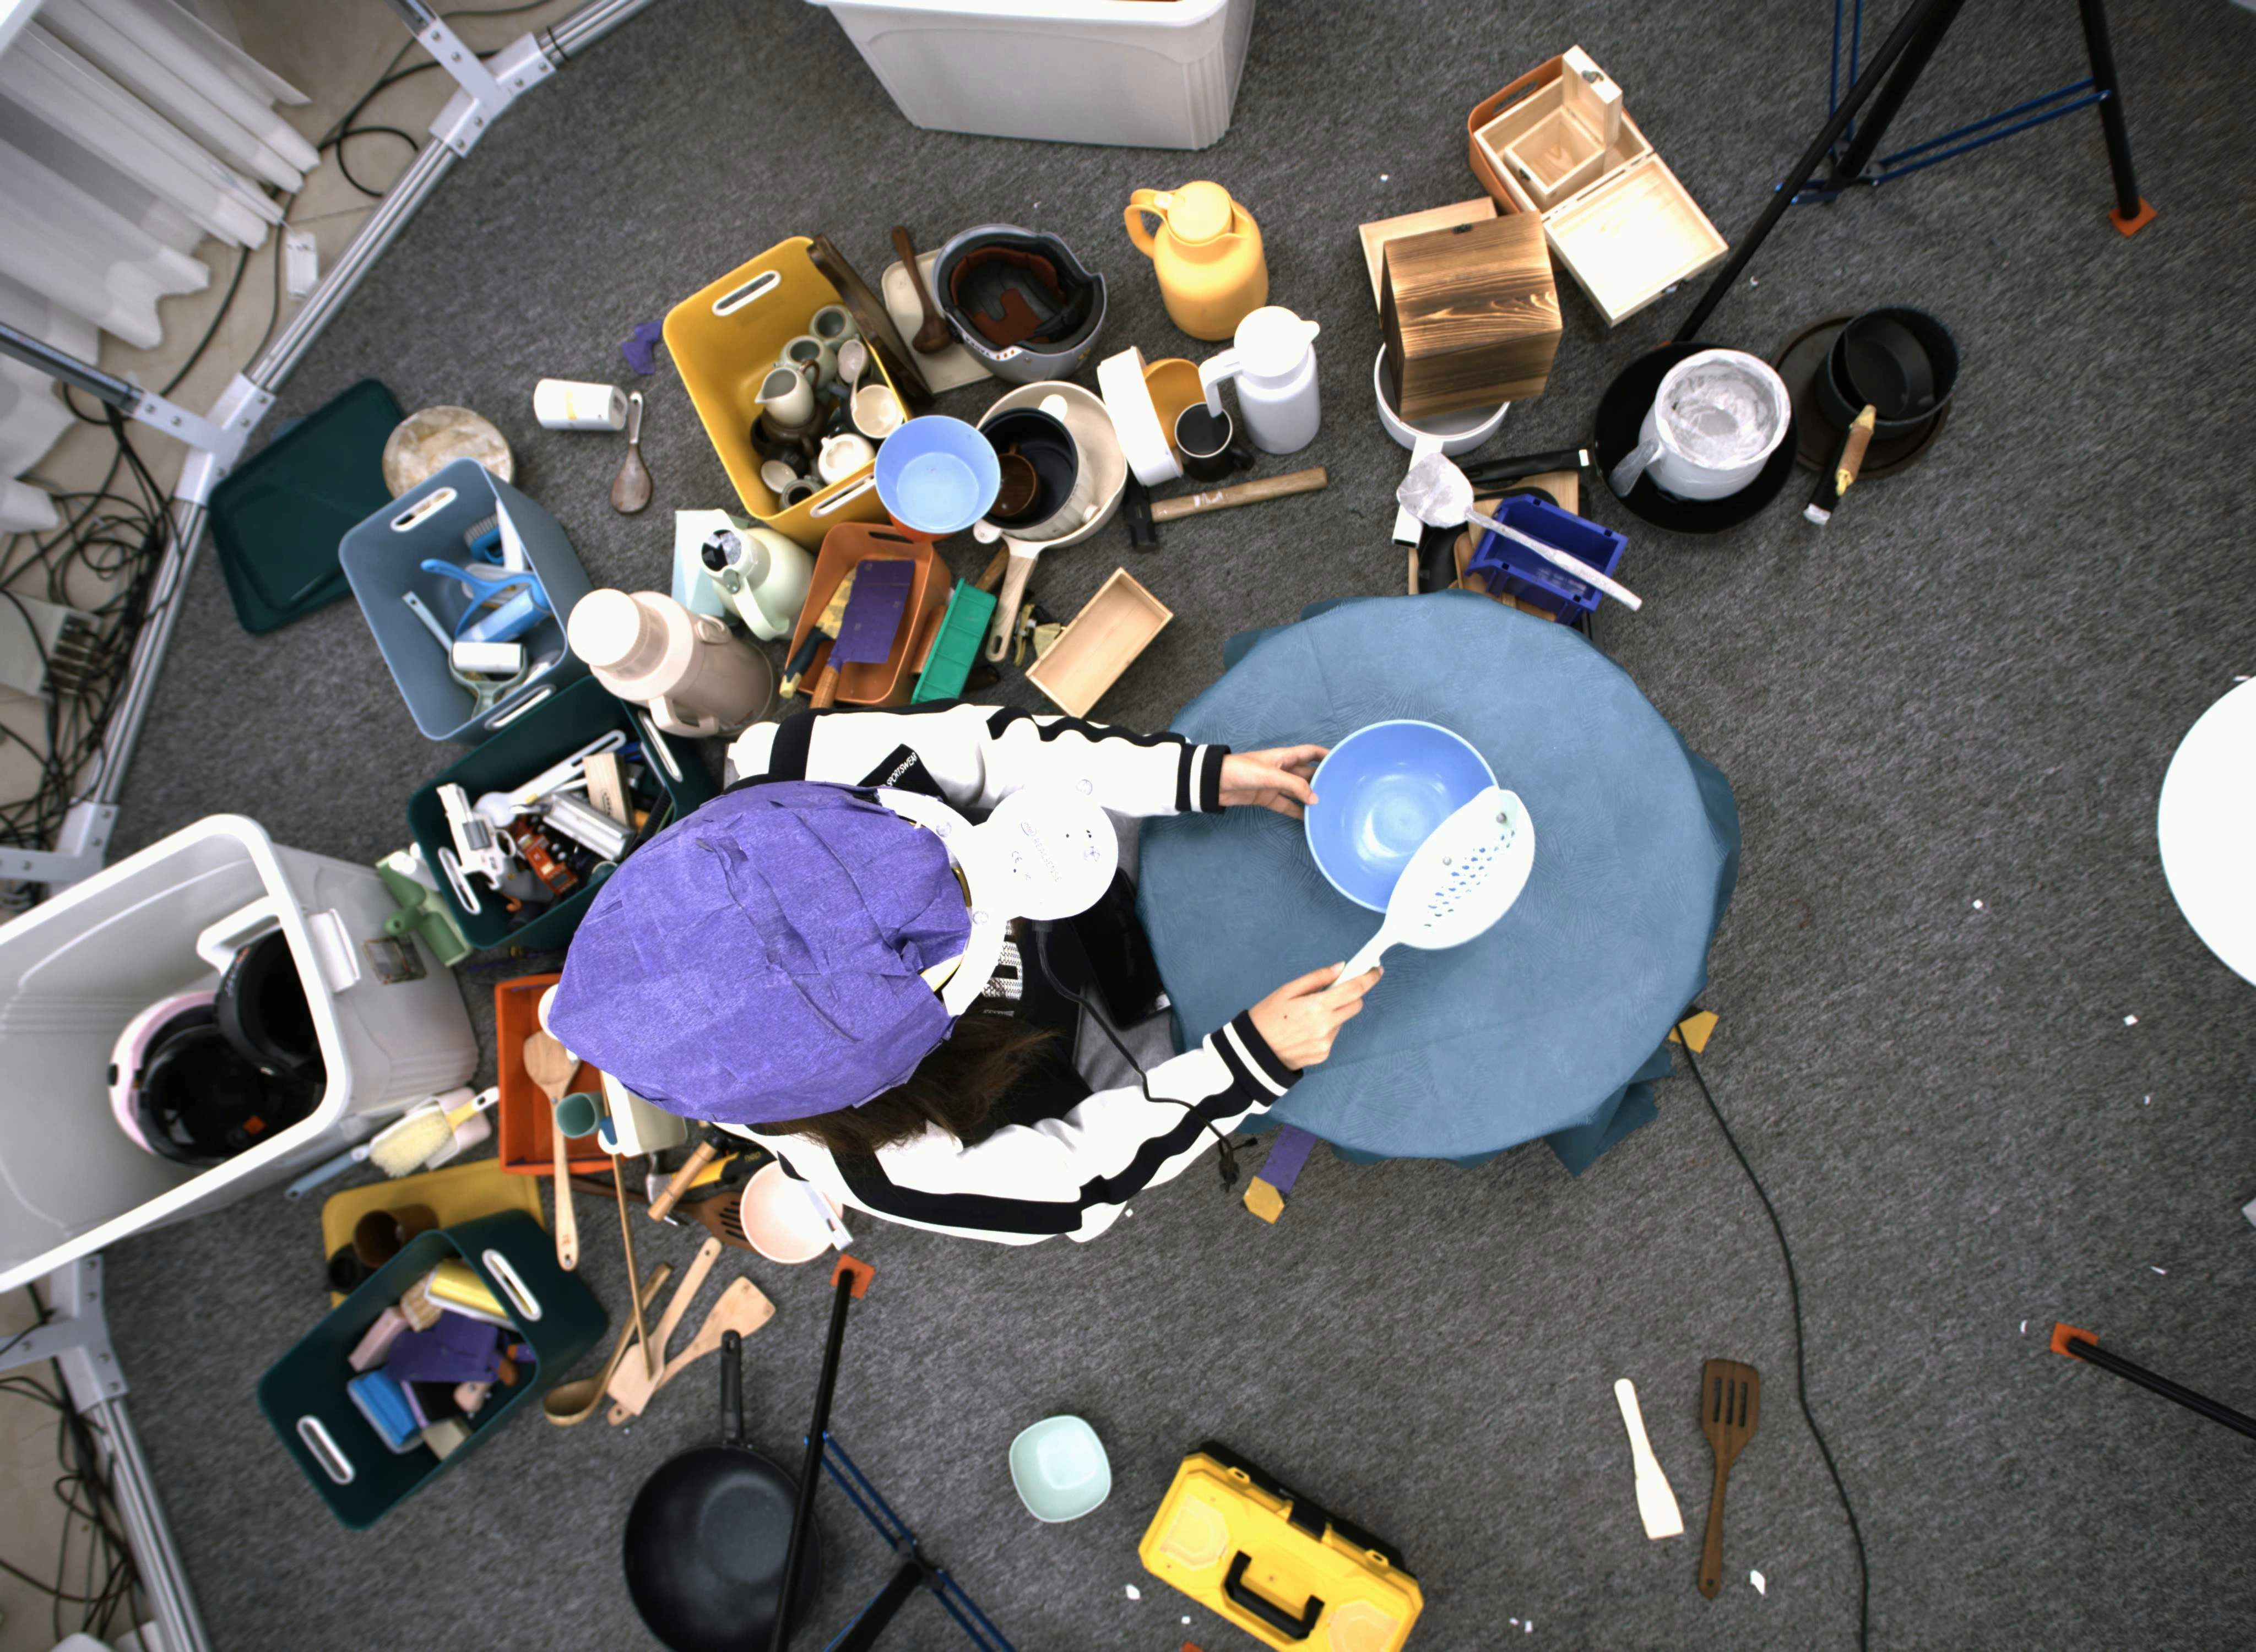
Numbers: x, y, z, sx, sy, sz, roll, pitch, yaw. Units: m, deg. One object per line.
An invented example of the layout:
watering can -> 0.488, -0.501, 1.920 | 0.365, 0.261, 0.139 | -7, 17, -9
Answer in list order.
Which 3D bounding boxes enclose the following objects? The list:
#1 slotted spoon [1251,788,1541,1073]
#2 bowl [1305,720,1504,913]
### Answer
slotted spoon -> 0.240, 0.117, 1.305 | 0.363, 0.076, 0.165 | -38, 39, 17
bowl -> 0.282, -0.006, 1.414 | 0.197, 0.095, 0.195 | -1, 87, 10
